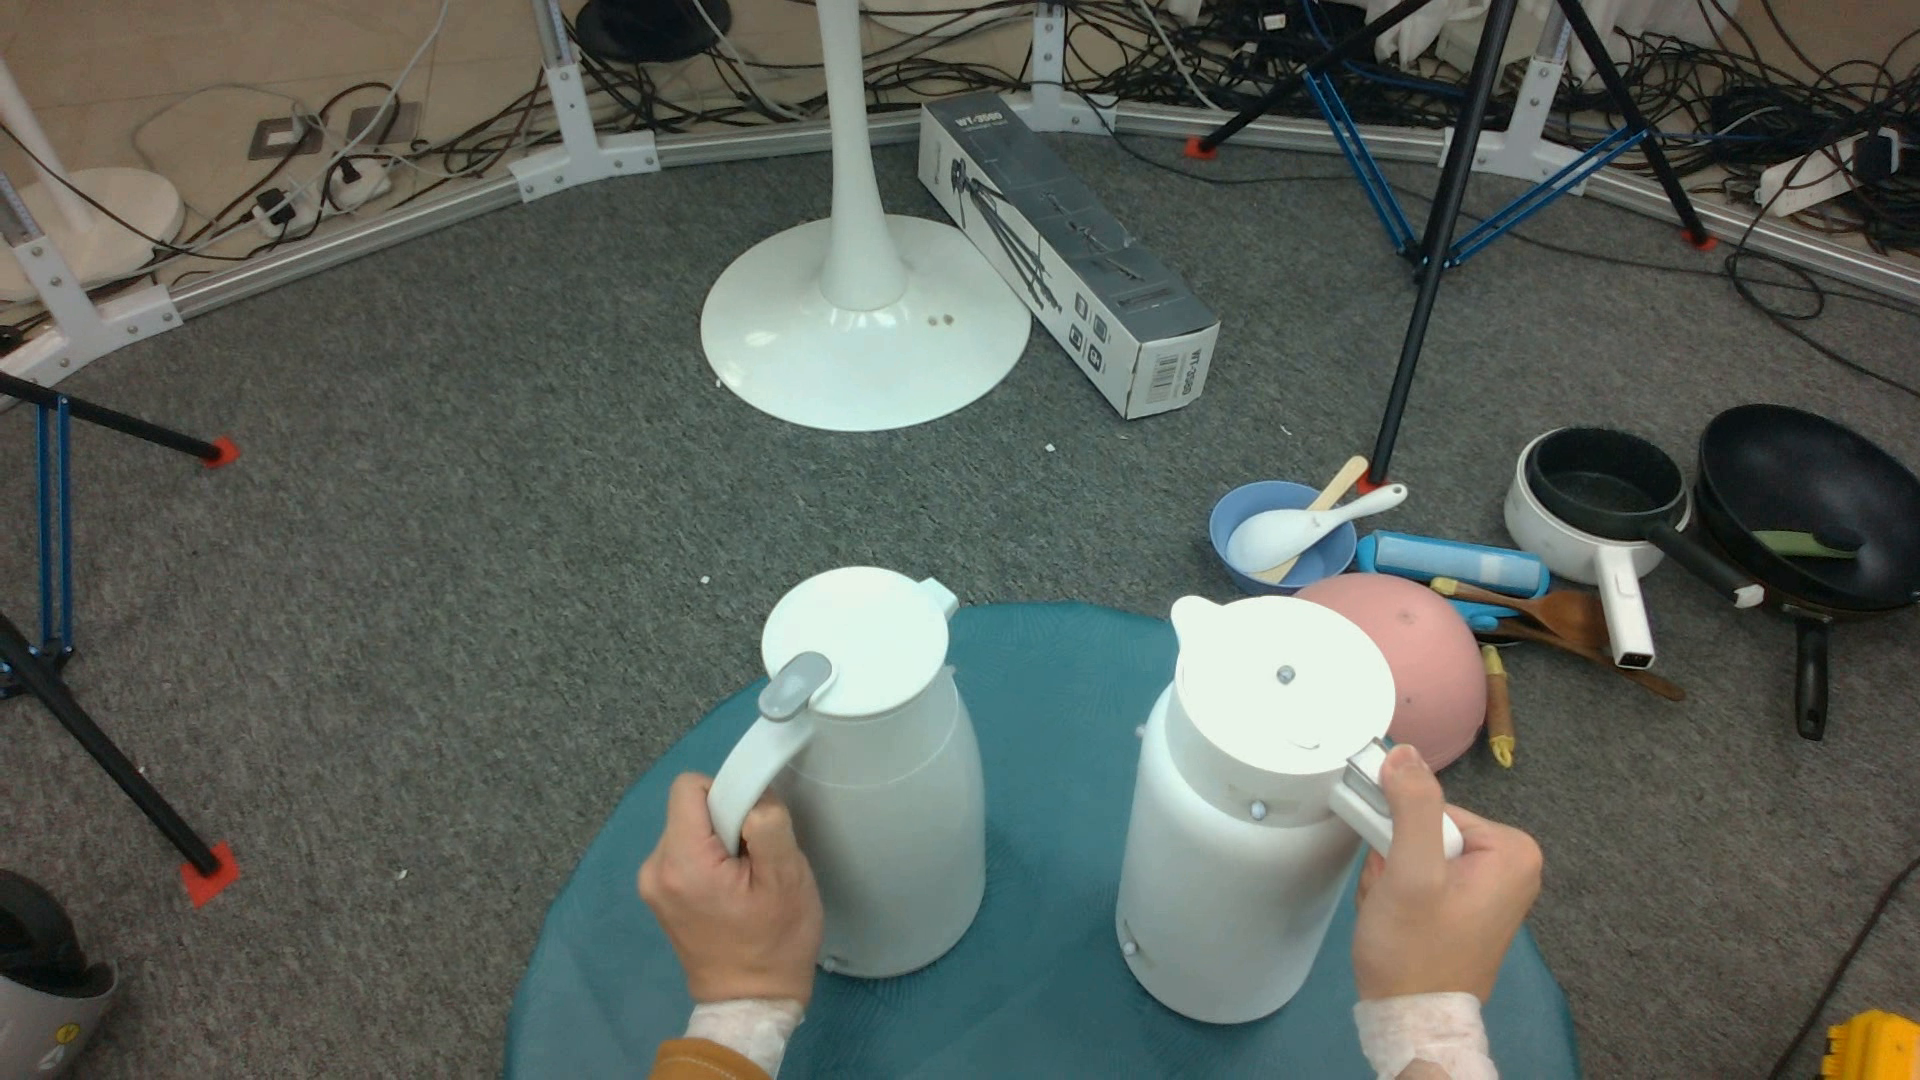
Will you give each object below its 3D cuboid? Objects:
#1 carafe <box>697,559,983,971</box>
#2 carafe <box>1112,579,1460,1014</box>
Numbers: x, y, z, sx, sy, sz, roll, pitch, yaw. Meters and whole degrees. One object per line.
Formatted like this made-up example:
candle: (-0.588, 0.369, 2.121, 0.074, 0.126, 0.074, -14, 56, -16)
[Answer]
carafe: (-0.065, 0.132, 0.746, 0.132, 0.247, 0.168, 35, 58, 27)
carafe: (0.160, 0.153, 0.717, 0.124, 0.267, 0.173, -30, 56, -26)
